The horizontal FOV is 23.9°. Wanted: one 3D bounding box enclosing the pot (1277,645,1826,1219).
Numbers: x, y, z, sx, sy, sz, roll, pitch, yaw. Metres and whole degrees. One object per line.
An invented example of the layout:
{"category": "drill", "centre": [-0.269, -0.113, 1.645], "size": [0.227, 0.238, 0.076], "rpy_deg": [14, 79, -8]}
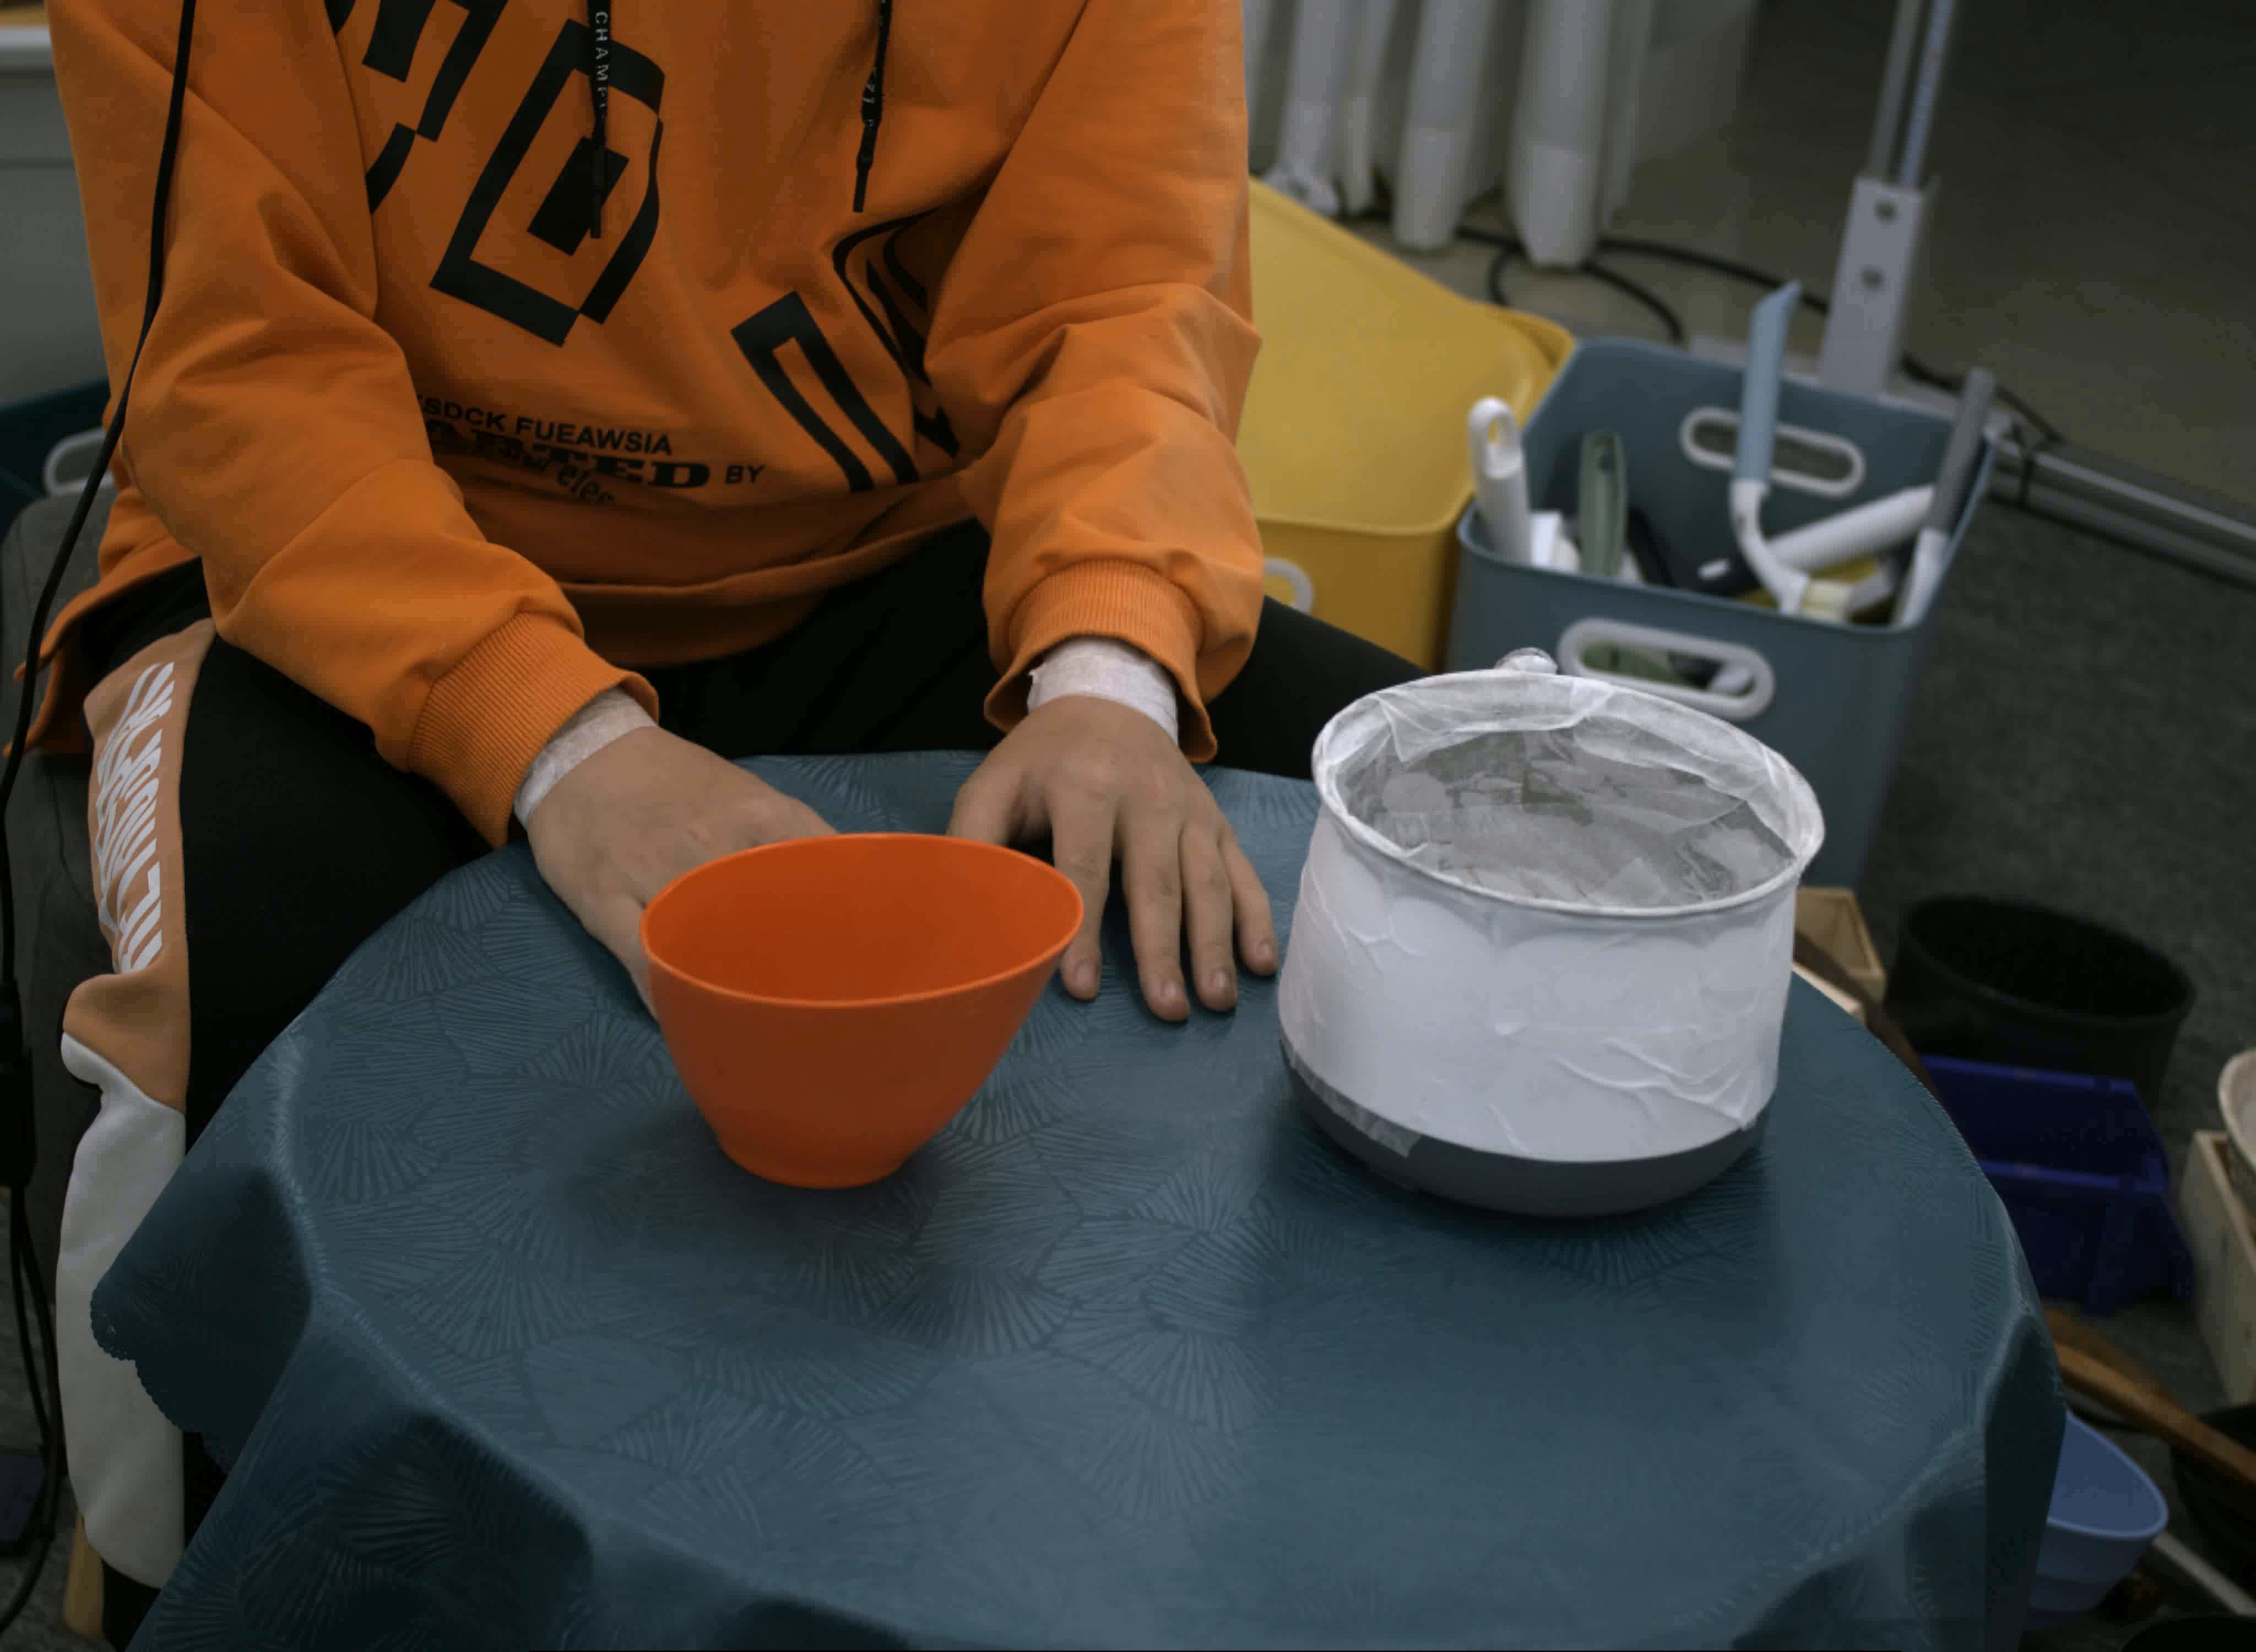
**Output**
{"category": "pot", "centre": [0.141, 0.030, 1.867], "size": [0.178, 0.136, 0.235], "rpy_deg": [4, 27, -7]}

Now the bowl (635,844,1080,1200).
{"category": "bowl", "centre": [-0.094, 0.069, 1.784], "size": [0.147, 0.104, 0.149], "rpy_deg": [4, 26, -2]}
